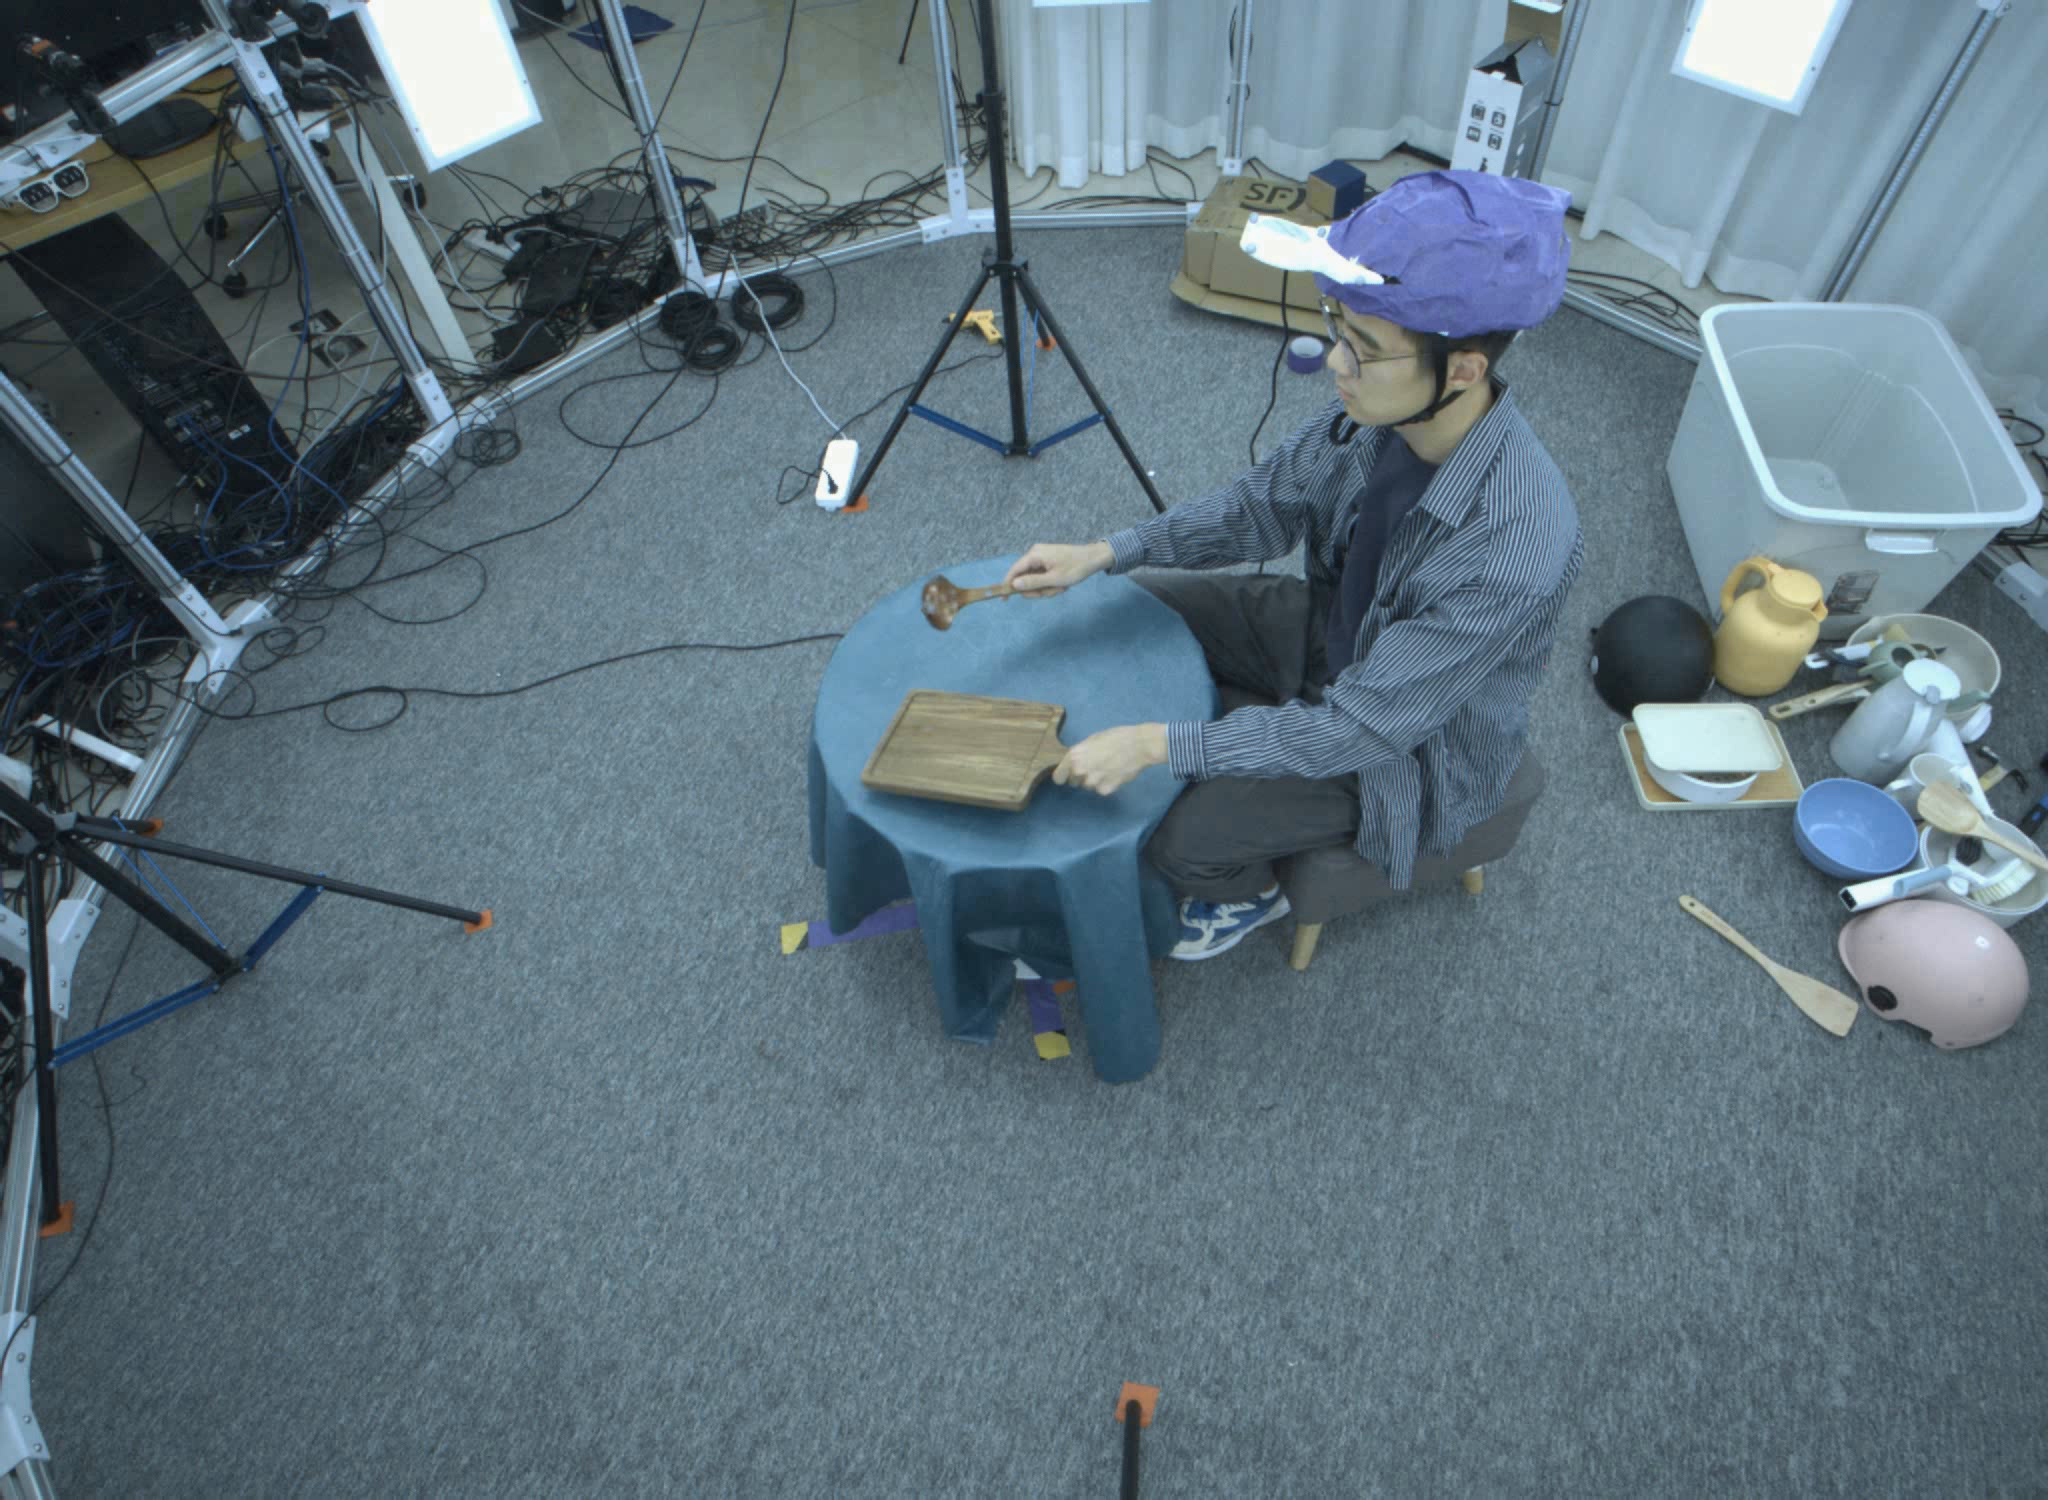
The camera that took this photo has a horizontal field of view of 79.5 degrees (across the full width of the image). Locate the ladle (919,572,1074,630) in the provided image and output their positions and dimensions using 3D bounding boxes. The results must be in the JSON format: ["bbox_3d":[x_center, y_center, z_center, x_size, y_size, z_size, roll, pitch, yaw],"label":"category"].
[{"bbox_3d":[-0.032,-0.233,1.798,0.278,0.082,0.075,-12,18,-26],"label":"ladle"}]

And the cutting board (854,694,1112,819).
[{"bbox_3d":[-0.047,0.011,1.729,0.347,0.023,0.201,8,49,18],"label":"cutting board"}]
